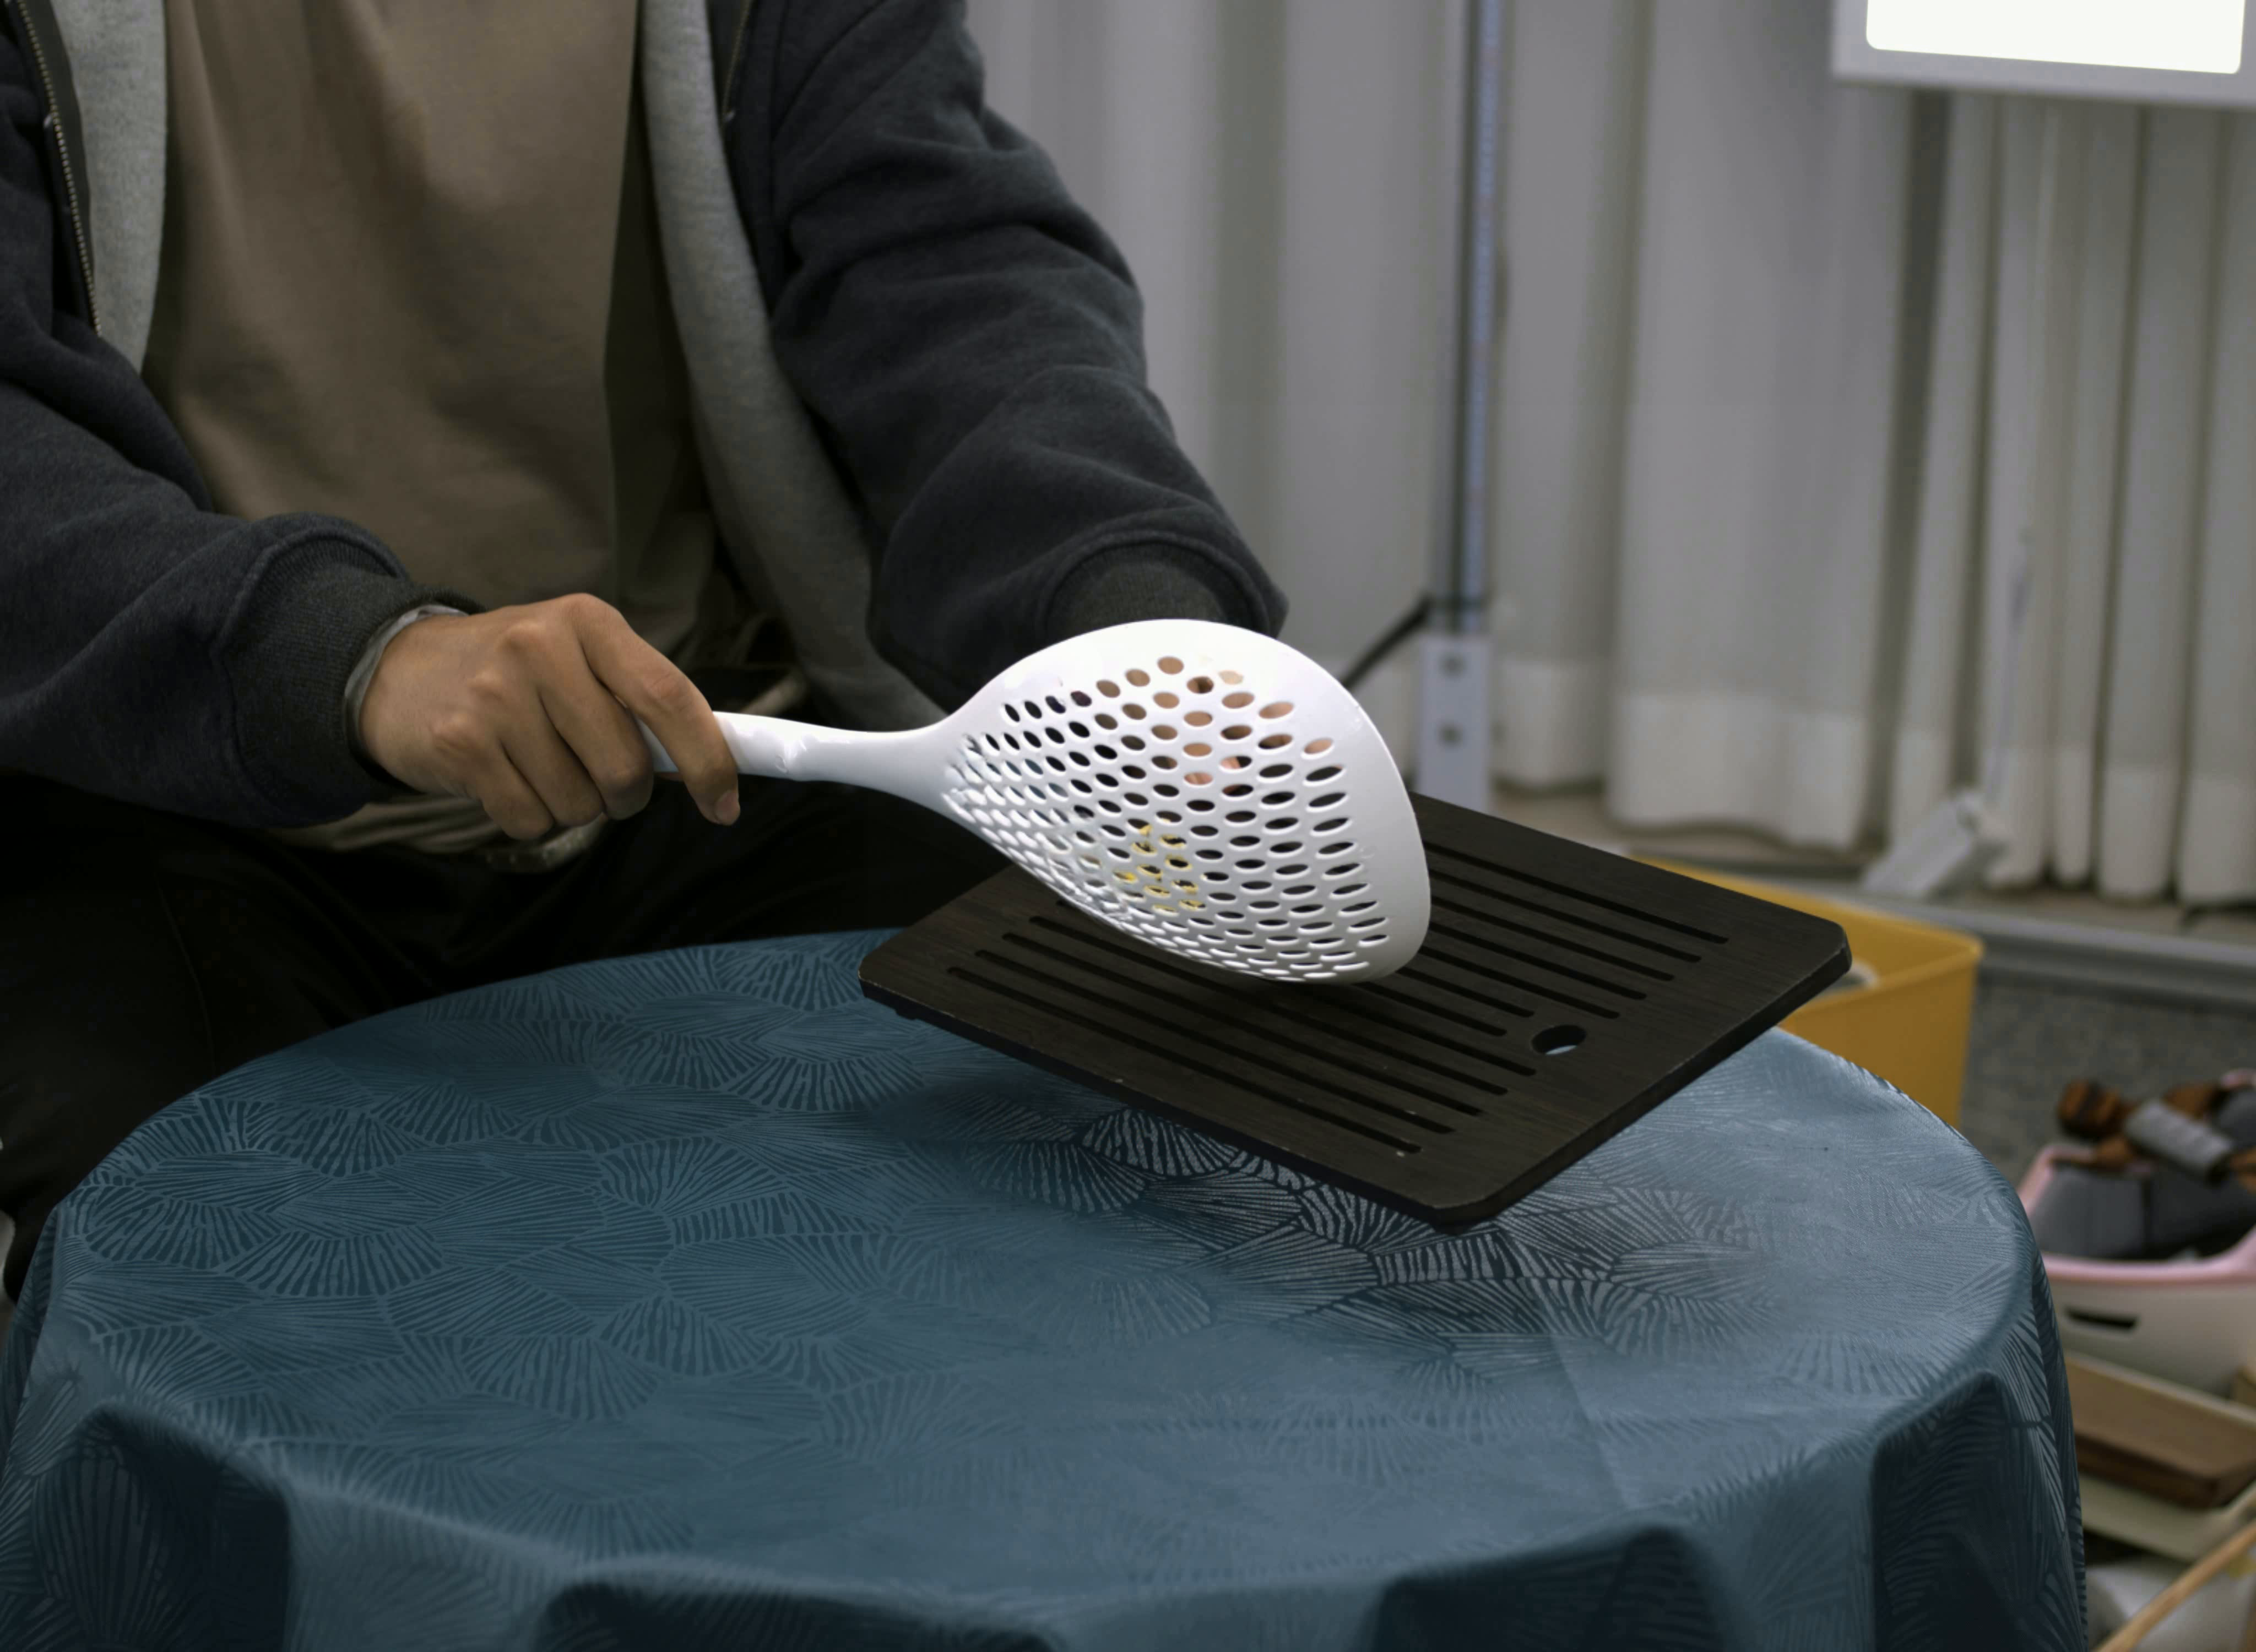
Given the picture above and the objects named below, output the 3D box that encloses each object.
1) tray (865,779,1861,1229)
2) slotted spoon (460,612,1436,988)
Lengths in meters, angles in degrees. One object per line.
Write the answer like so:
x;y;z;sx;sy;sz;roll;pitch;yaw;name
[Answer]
0.067;0.044;1.631;0.170;0.019;0.302;-32;30;-29;tray
-0.063;-0.014;1.631;0.343;0.138;0.050;12;44;34;slotted spoon
